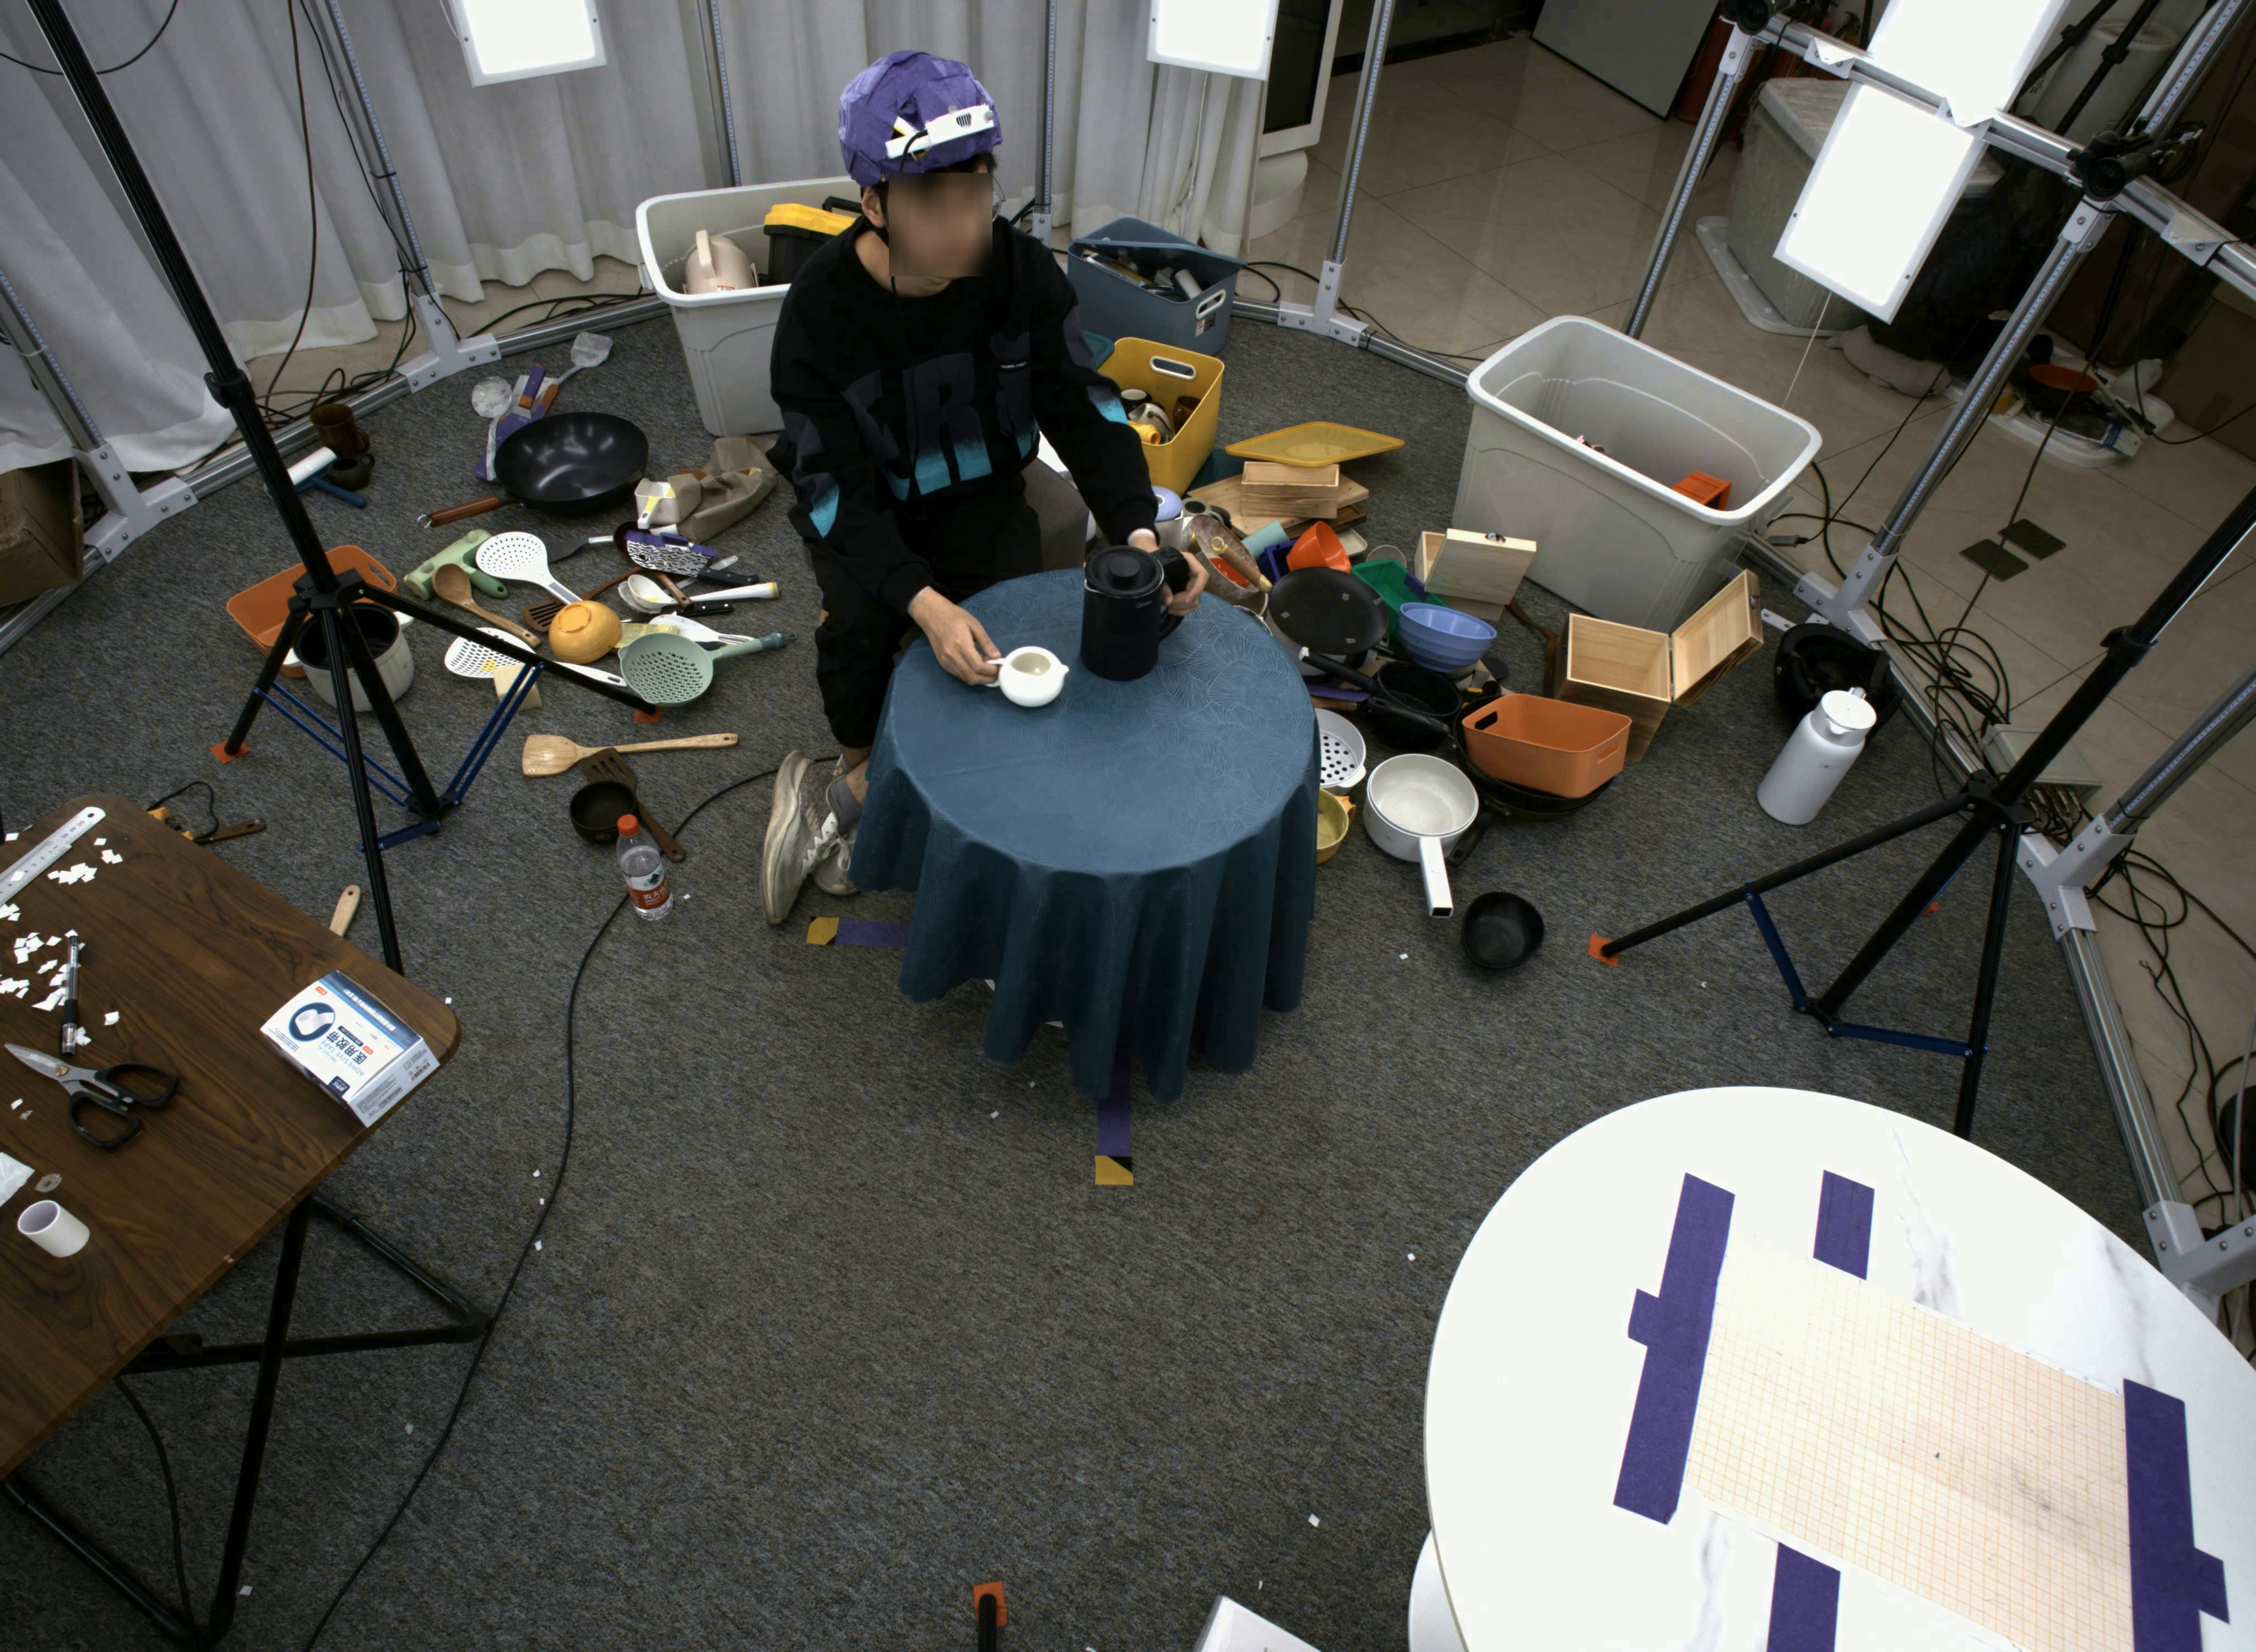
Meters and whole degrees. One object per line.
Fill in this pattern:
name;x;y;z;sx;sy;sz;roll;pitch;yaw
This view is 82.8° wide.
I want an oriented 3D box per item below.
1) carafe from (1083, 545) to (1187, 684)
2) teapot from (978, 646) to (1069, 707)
carafe;0.010;-0.315;1.832;0.172;0.169;0.117;-29;56;-23
teapot;-0.146;-0.210;1.806;0.127;0.055;0.096;1;53;-2
